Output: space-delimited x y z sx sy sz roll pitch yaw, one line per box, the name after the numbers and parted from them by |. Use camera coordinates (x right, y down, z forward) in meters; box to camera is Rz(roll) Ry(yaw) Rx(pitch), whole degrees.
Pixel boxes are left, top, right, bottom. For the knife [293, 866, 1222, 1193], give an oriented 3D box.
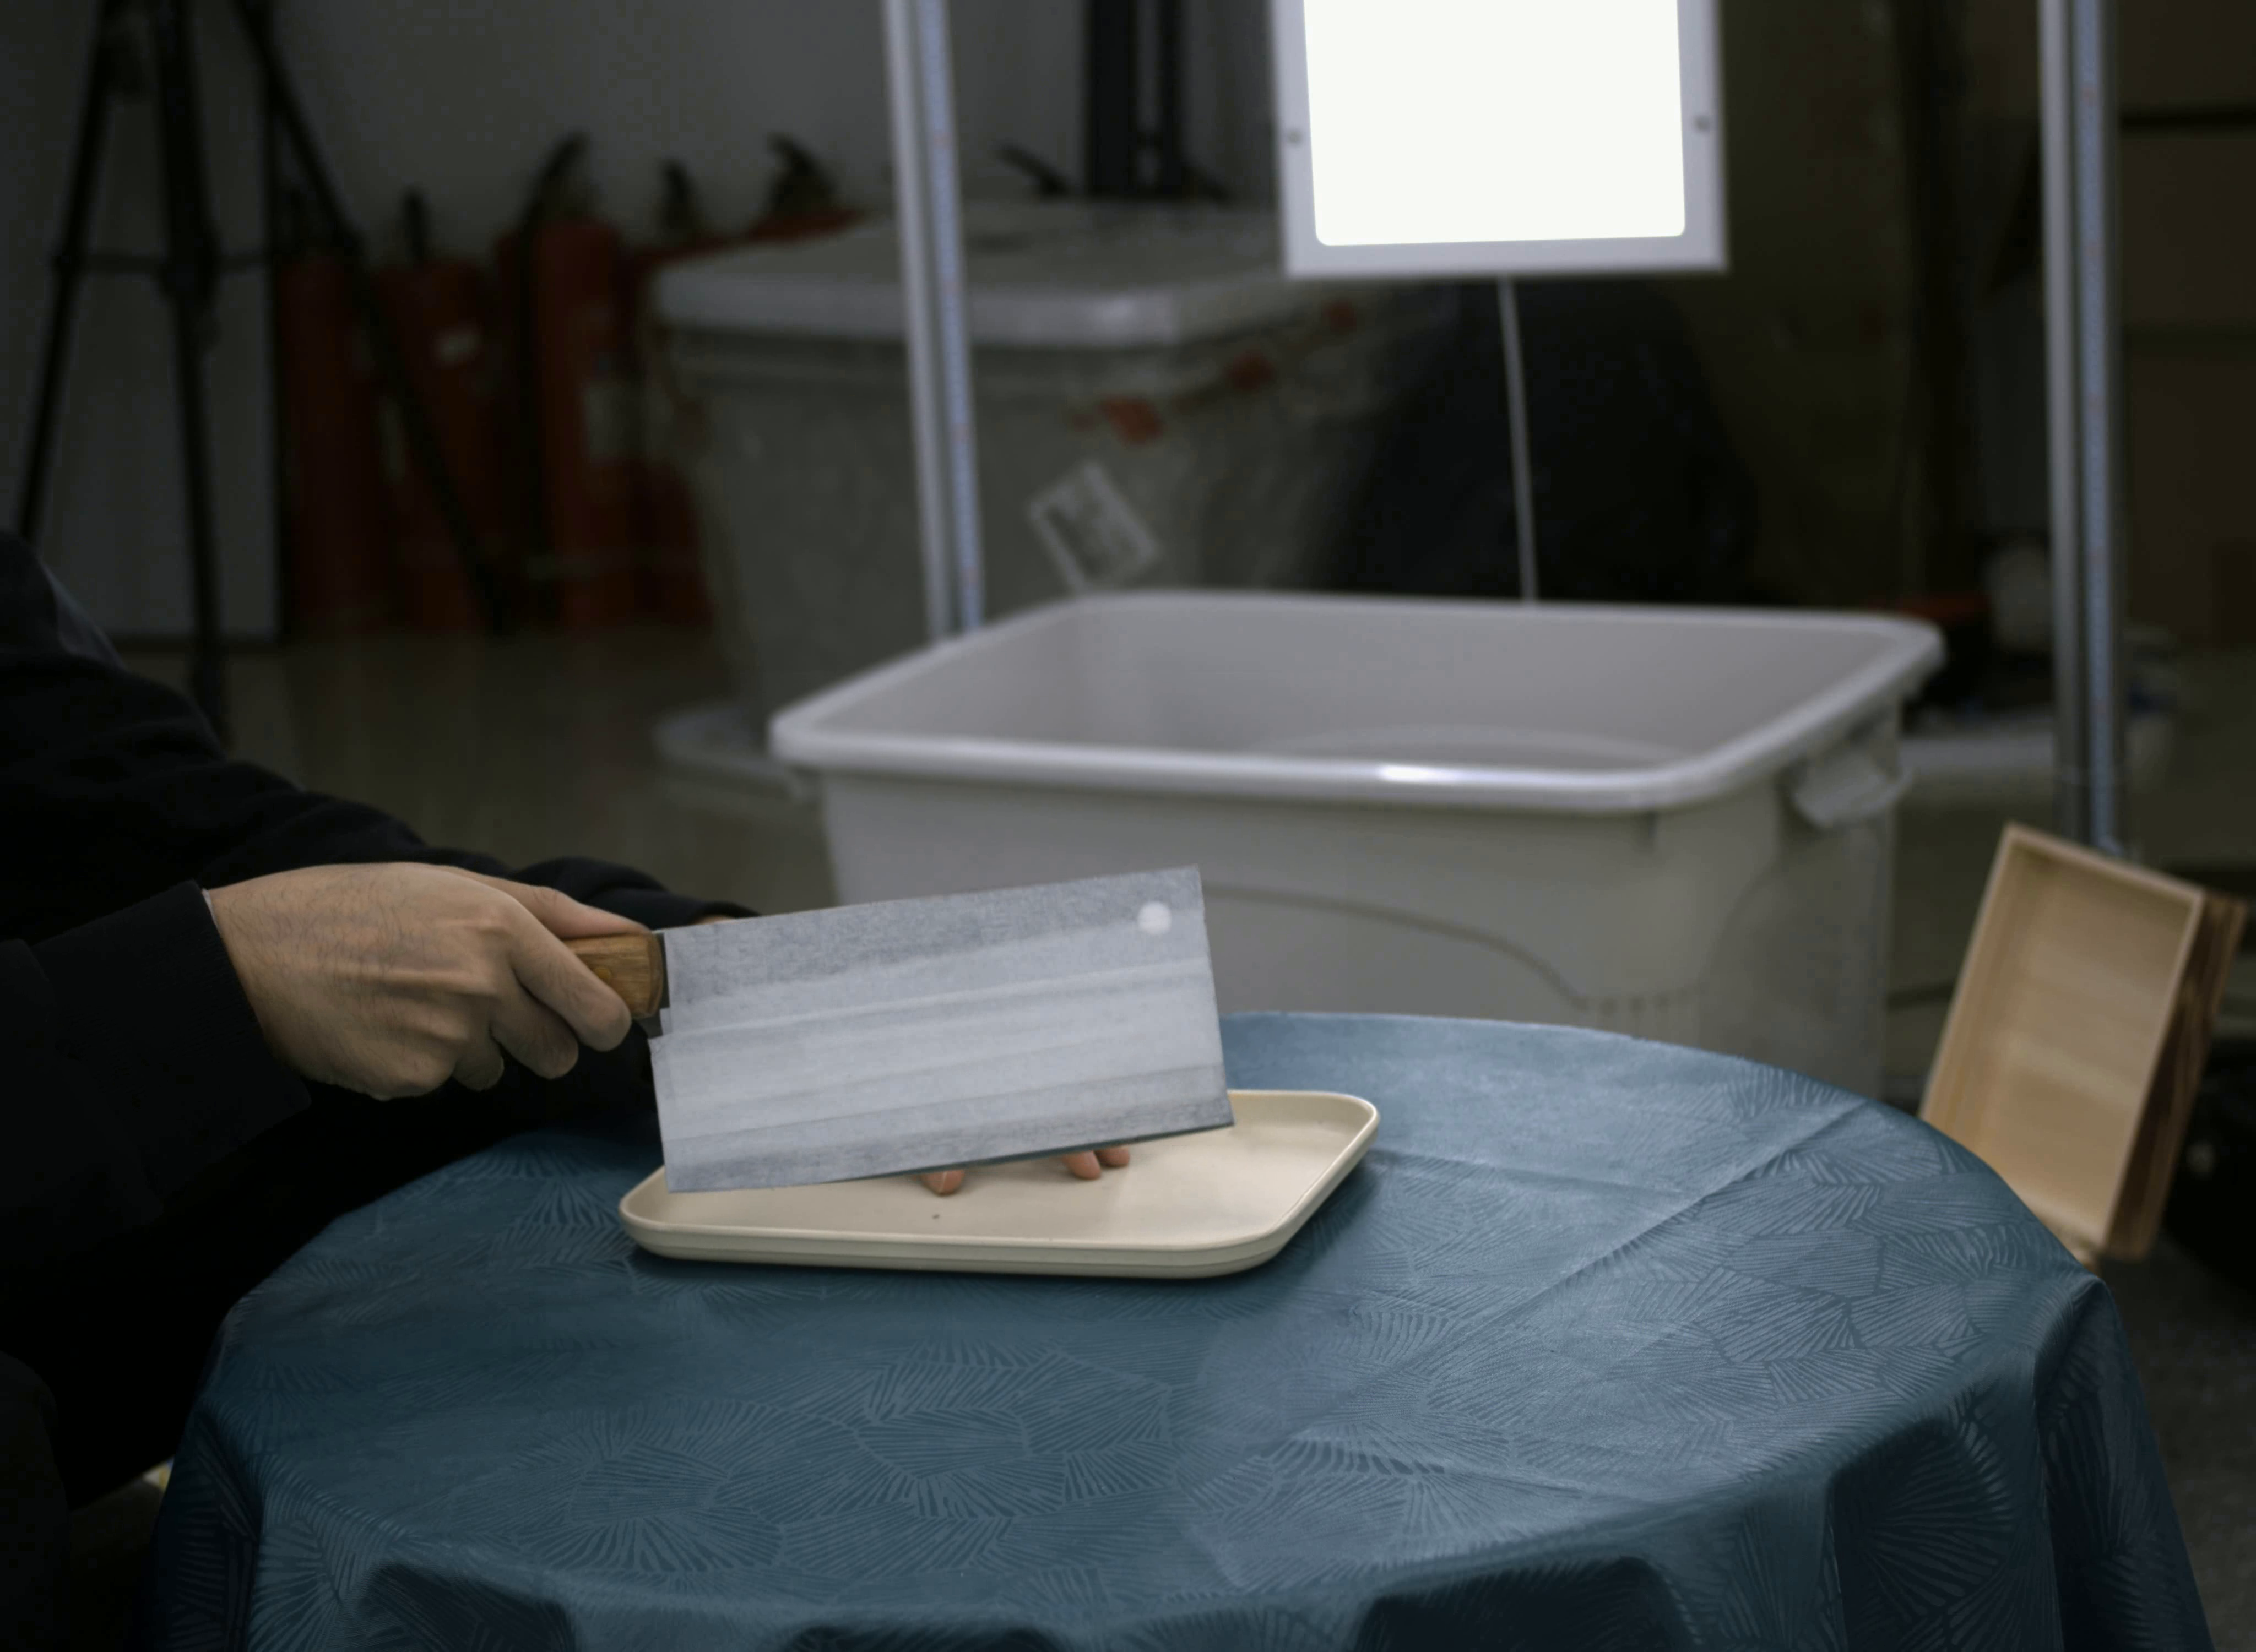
-0.122 0.074 1.826 0.306 0.093 0.021 -7 9 6 | knife

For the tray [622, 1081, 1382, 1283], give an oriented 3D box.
-0.042 0.121 1.895 0.243 0.017 0.168 1 16 21 | tray
